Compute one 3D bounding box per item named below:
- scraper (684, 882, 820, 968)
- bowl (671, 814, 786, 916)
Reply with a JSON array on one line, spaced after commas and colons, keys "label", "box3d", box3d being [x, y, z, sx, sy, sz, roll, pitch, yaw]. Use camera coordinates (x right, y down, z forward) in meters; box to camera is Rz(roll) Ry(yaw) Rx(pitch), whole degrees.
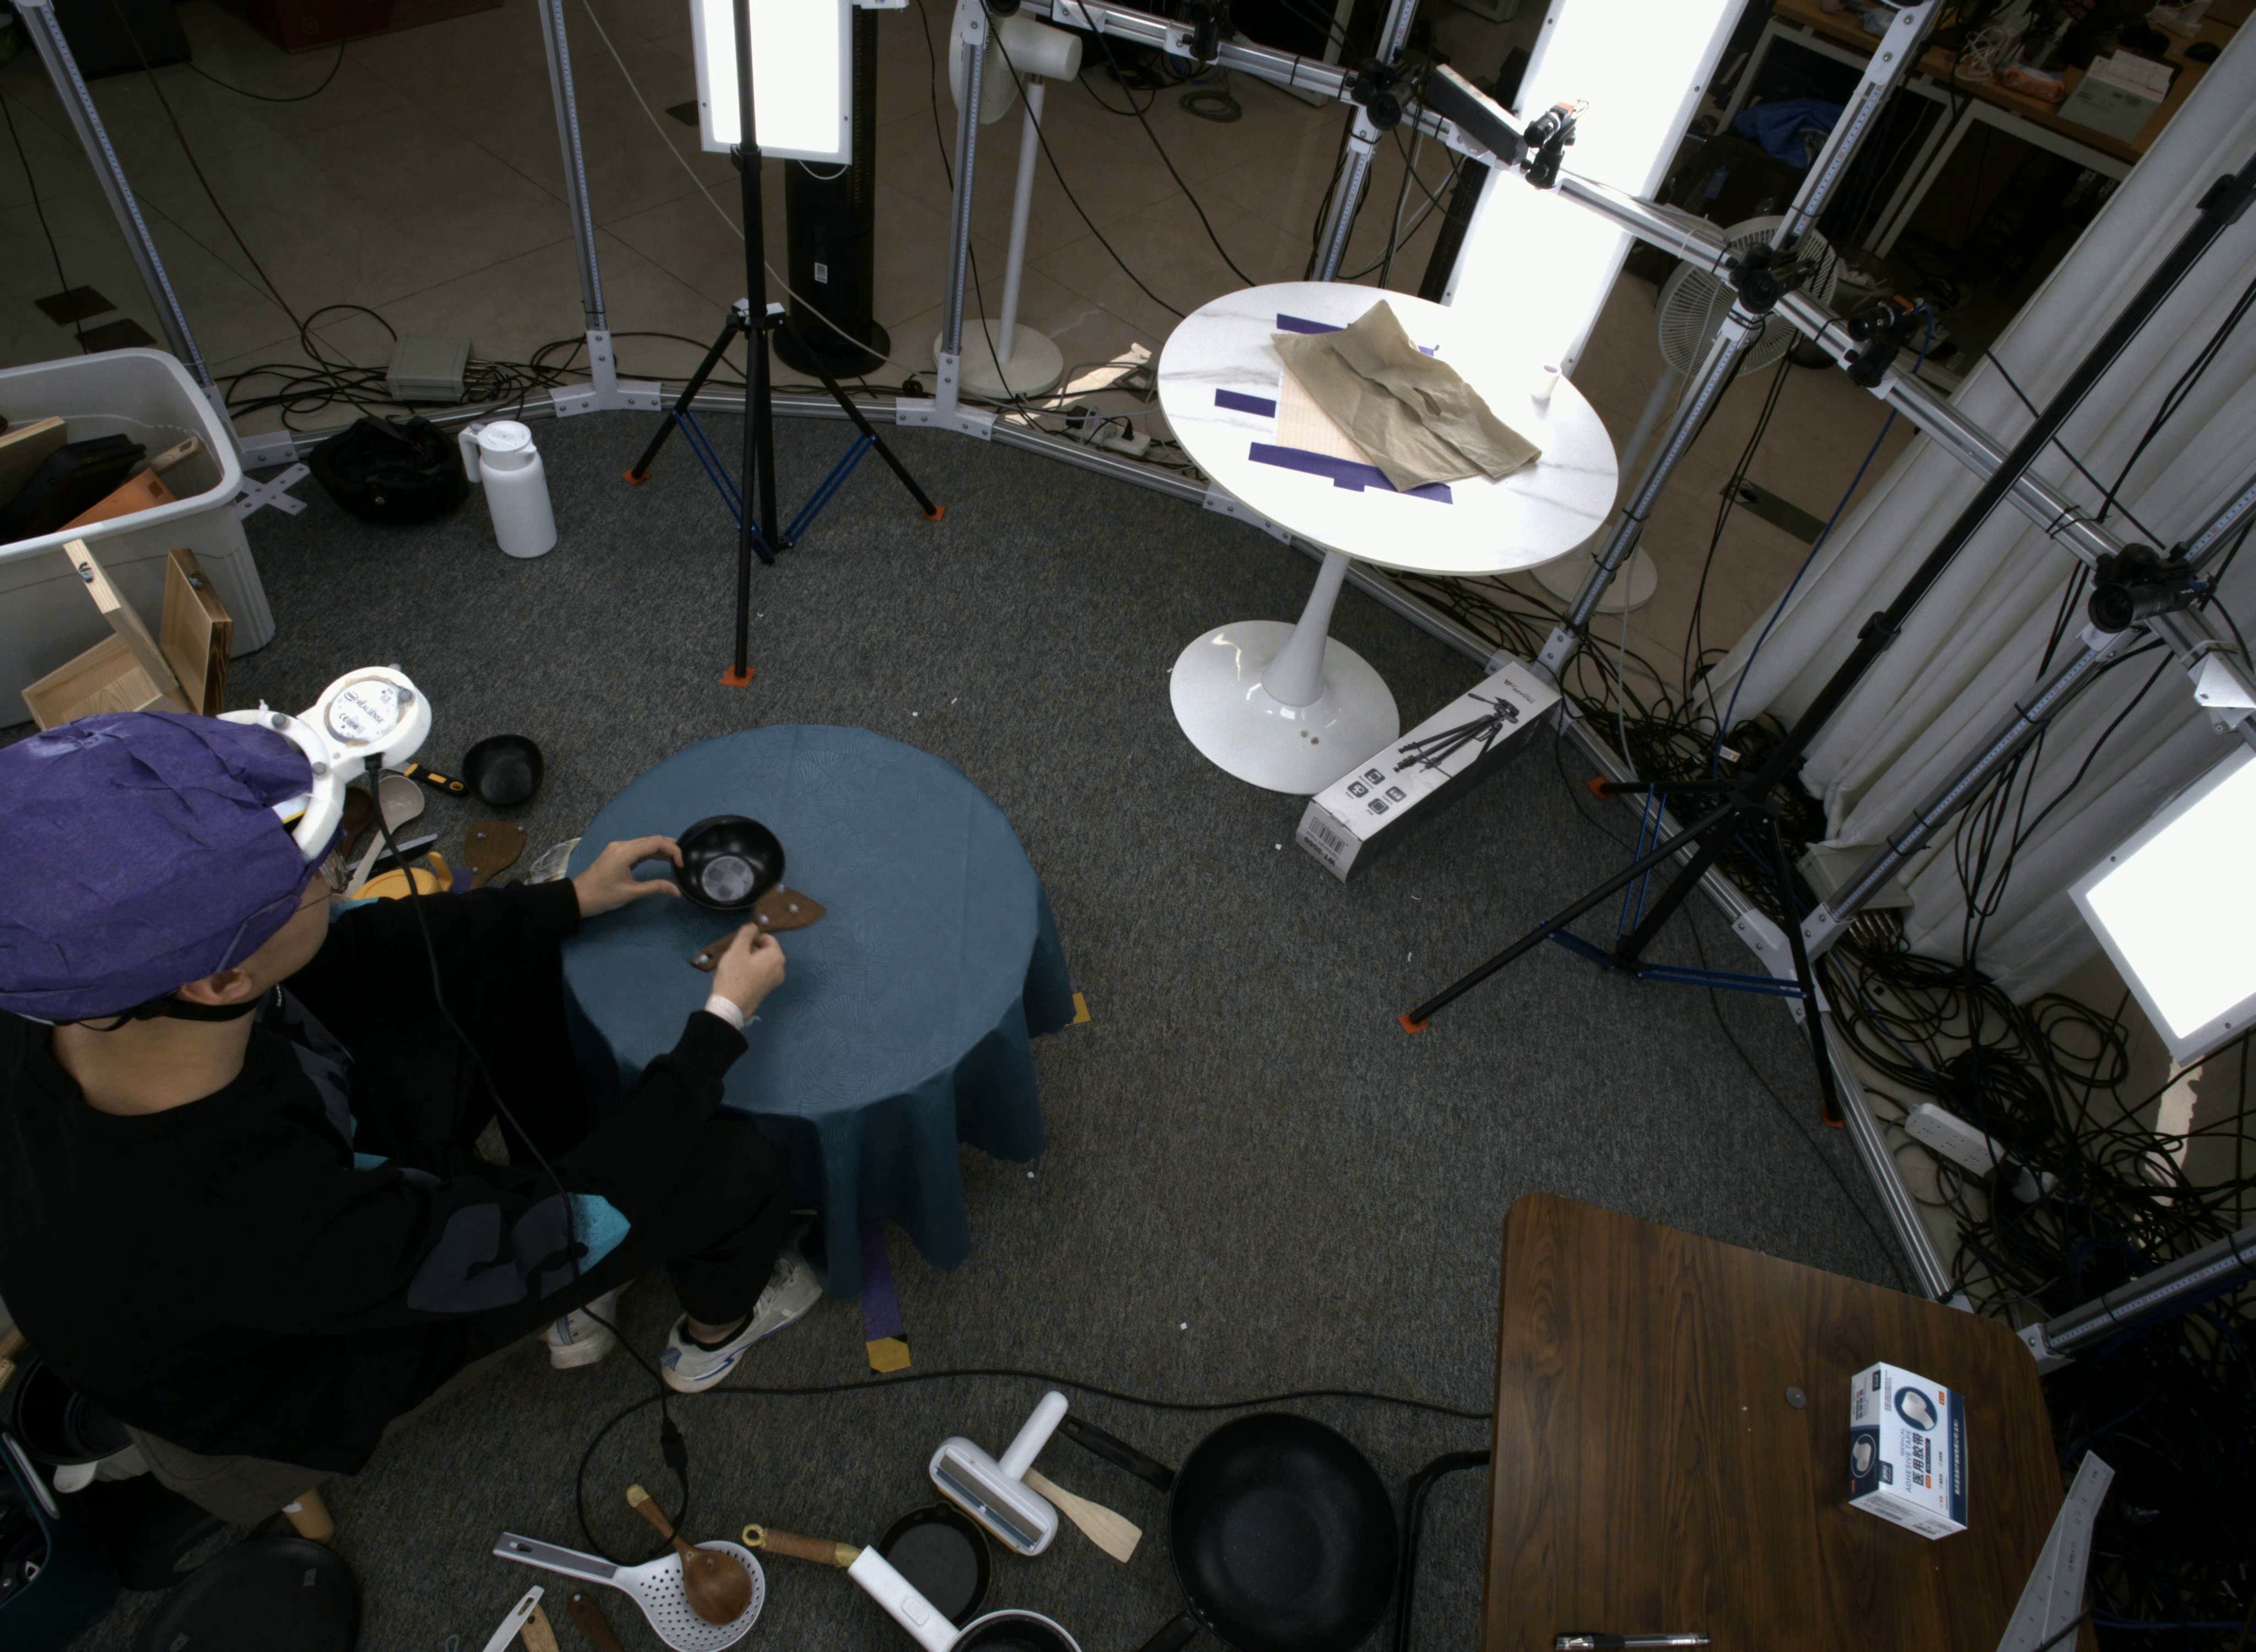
[{"label": "scraper", "box3d": [-0.432, 0.112, 1.469, 0.074, 0.011, 0.211, 26, 24, 10]}, {"label": "bowl", "box3d": [-0.500, 0.055, 1.618, 0.140, 0.050, 0.138, 10, 58, -14]}]
